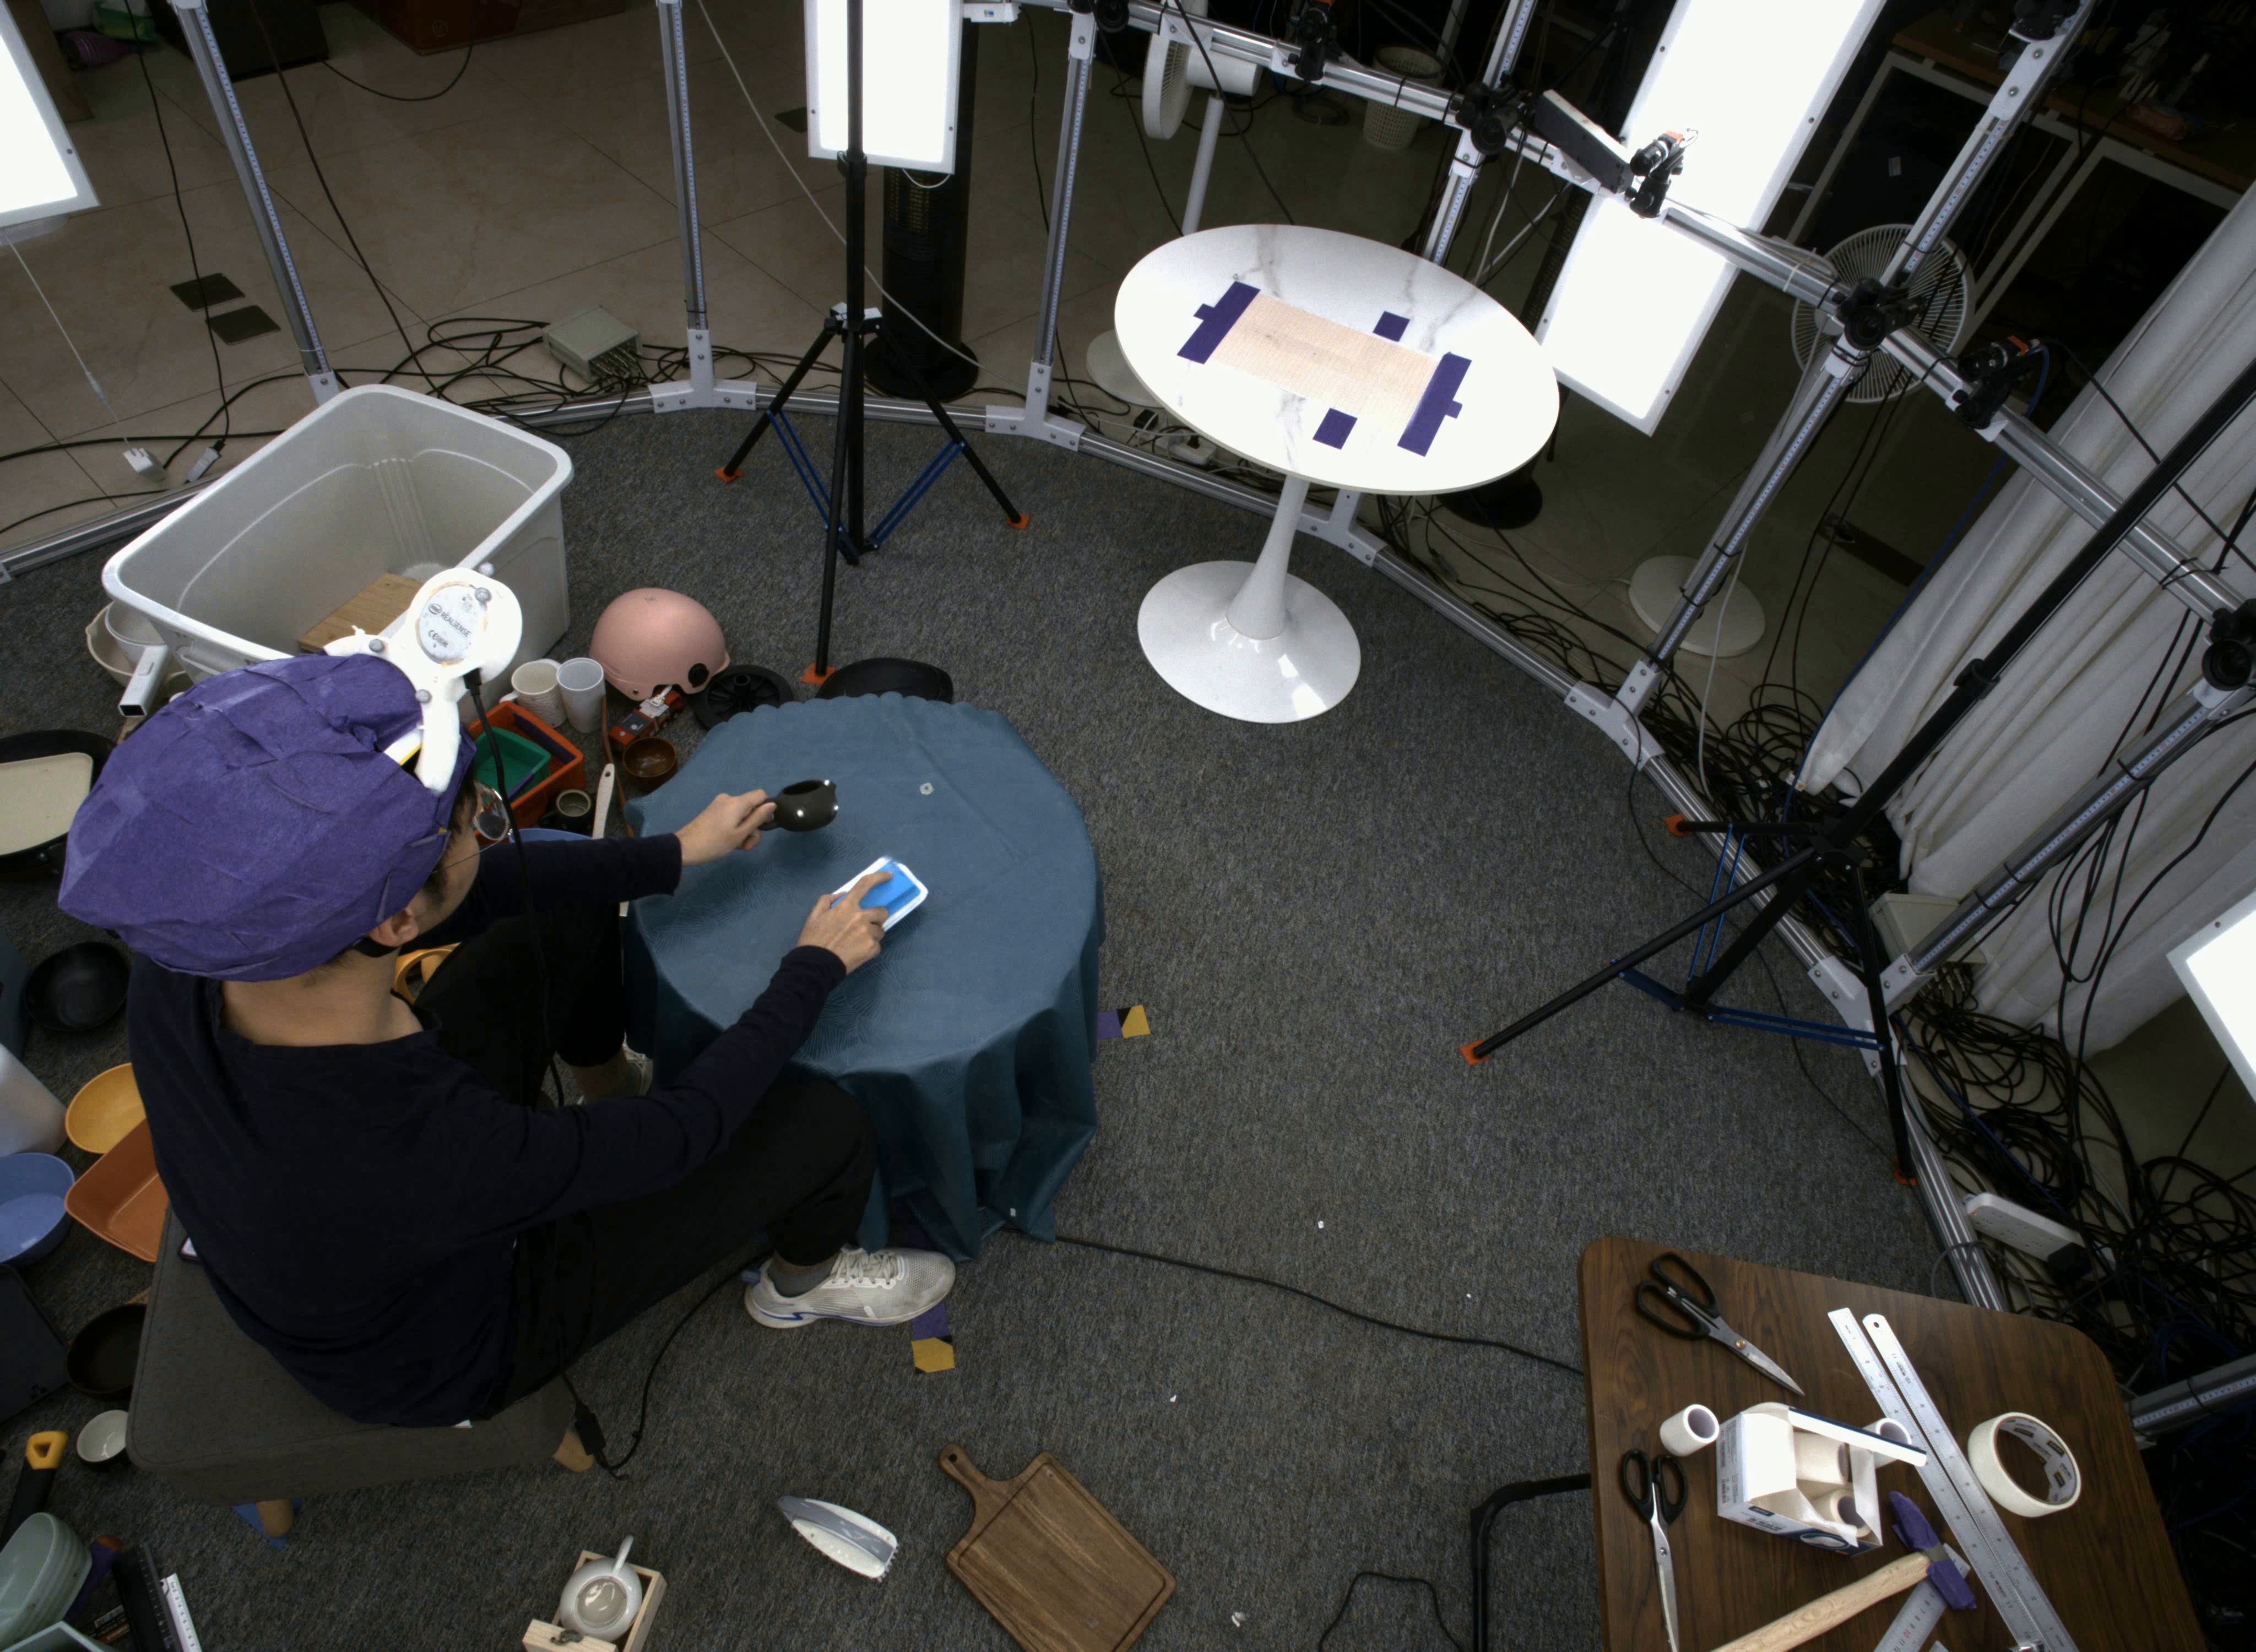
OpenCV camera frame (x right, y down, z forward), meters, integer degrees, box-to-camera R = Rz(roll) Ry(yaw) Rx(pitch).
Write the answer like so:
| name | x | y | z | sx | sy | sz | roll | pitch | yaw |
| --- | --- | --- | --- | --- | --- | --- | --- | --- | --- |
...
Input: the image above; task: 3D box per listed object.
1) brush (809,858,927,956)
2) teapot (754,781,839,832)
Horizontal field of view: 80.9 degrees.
| name | x | y | z | sx | sy | sz | roll | pitch | yaw |
| --- | --- | --- | --- | --- | --- | --- | --- | --- | --- |
| brush | -0.320 | 0.090 | 1.609 | 0.083 | 0.056 | 0.144 | 46 | 53 | 10 |
| teapot | -0.424 | -0.023 | 1.660 | 0.115 | 0.054 | 0.080 | -14 | 15 | -29 |
